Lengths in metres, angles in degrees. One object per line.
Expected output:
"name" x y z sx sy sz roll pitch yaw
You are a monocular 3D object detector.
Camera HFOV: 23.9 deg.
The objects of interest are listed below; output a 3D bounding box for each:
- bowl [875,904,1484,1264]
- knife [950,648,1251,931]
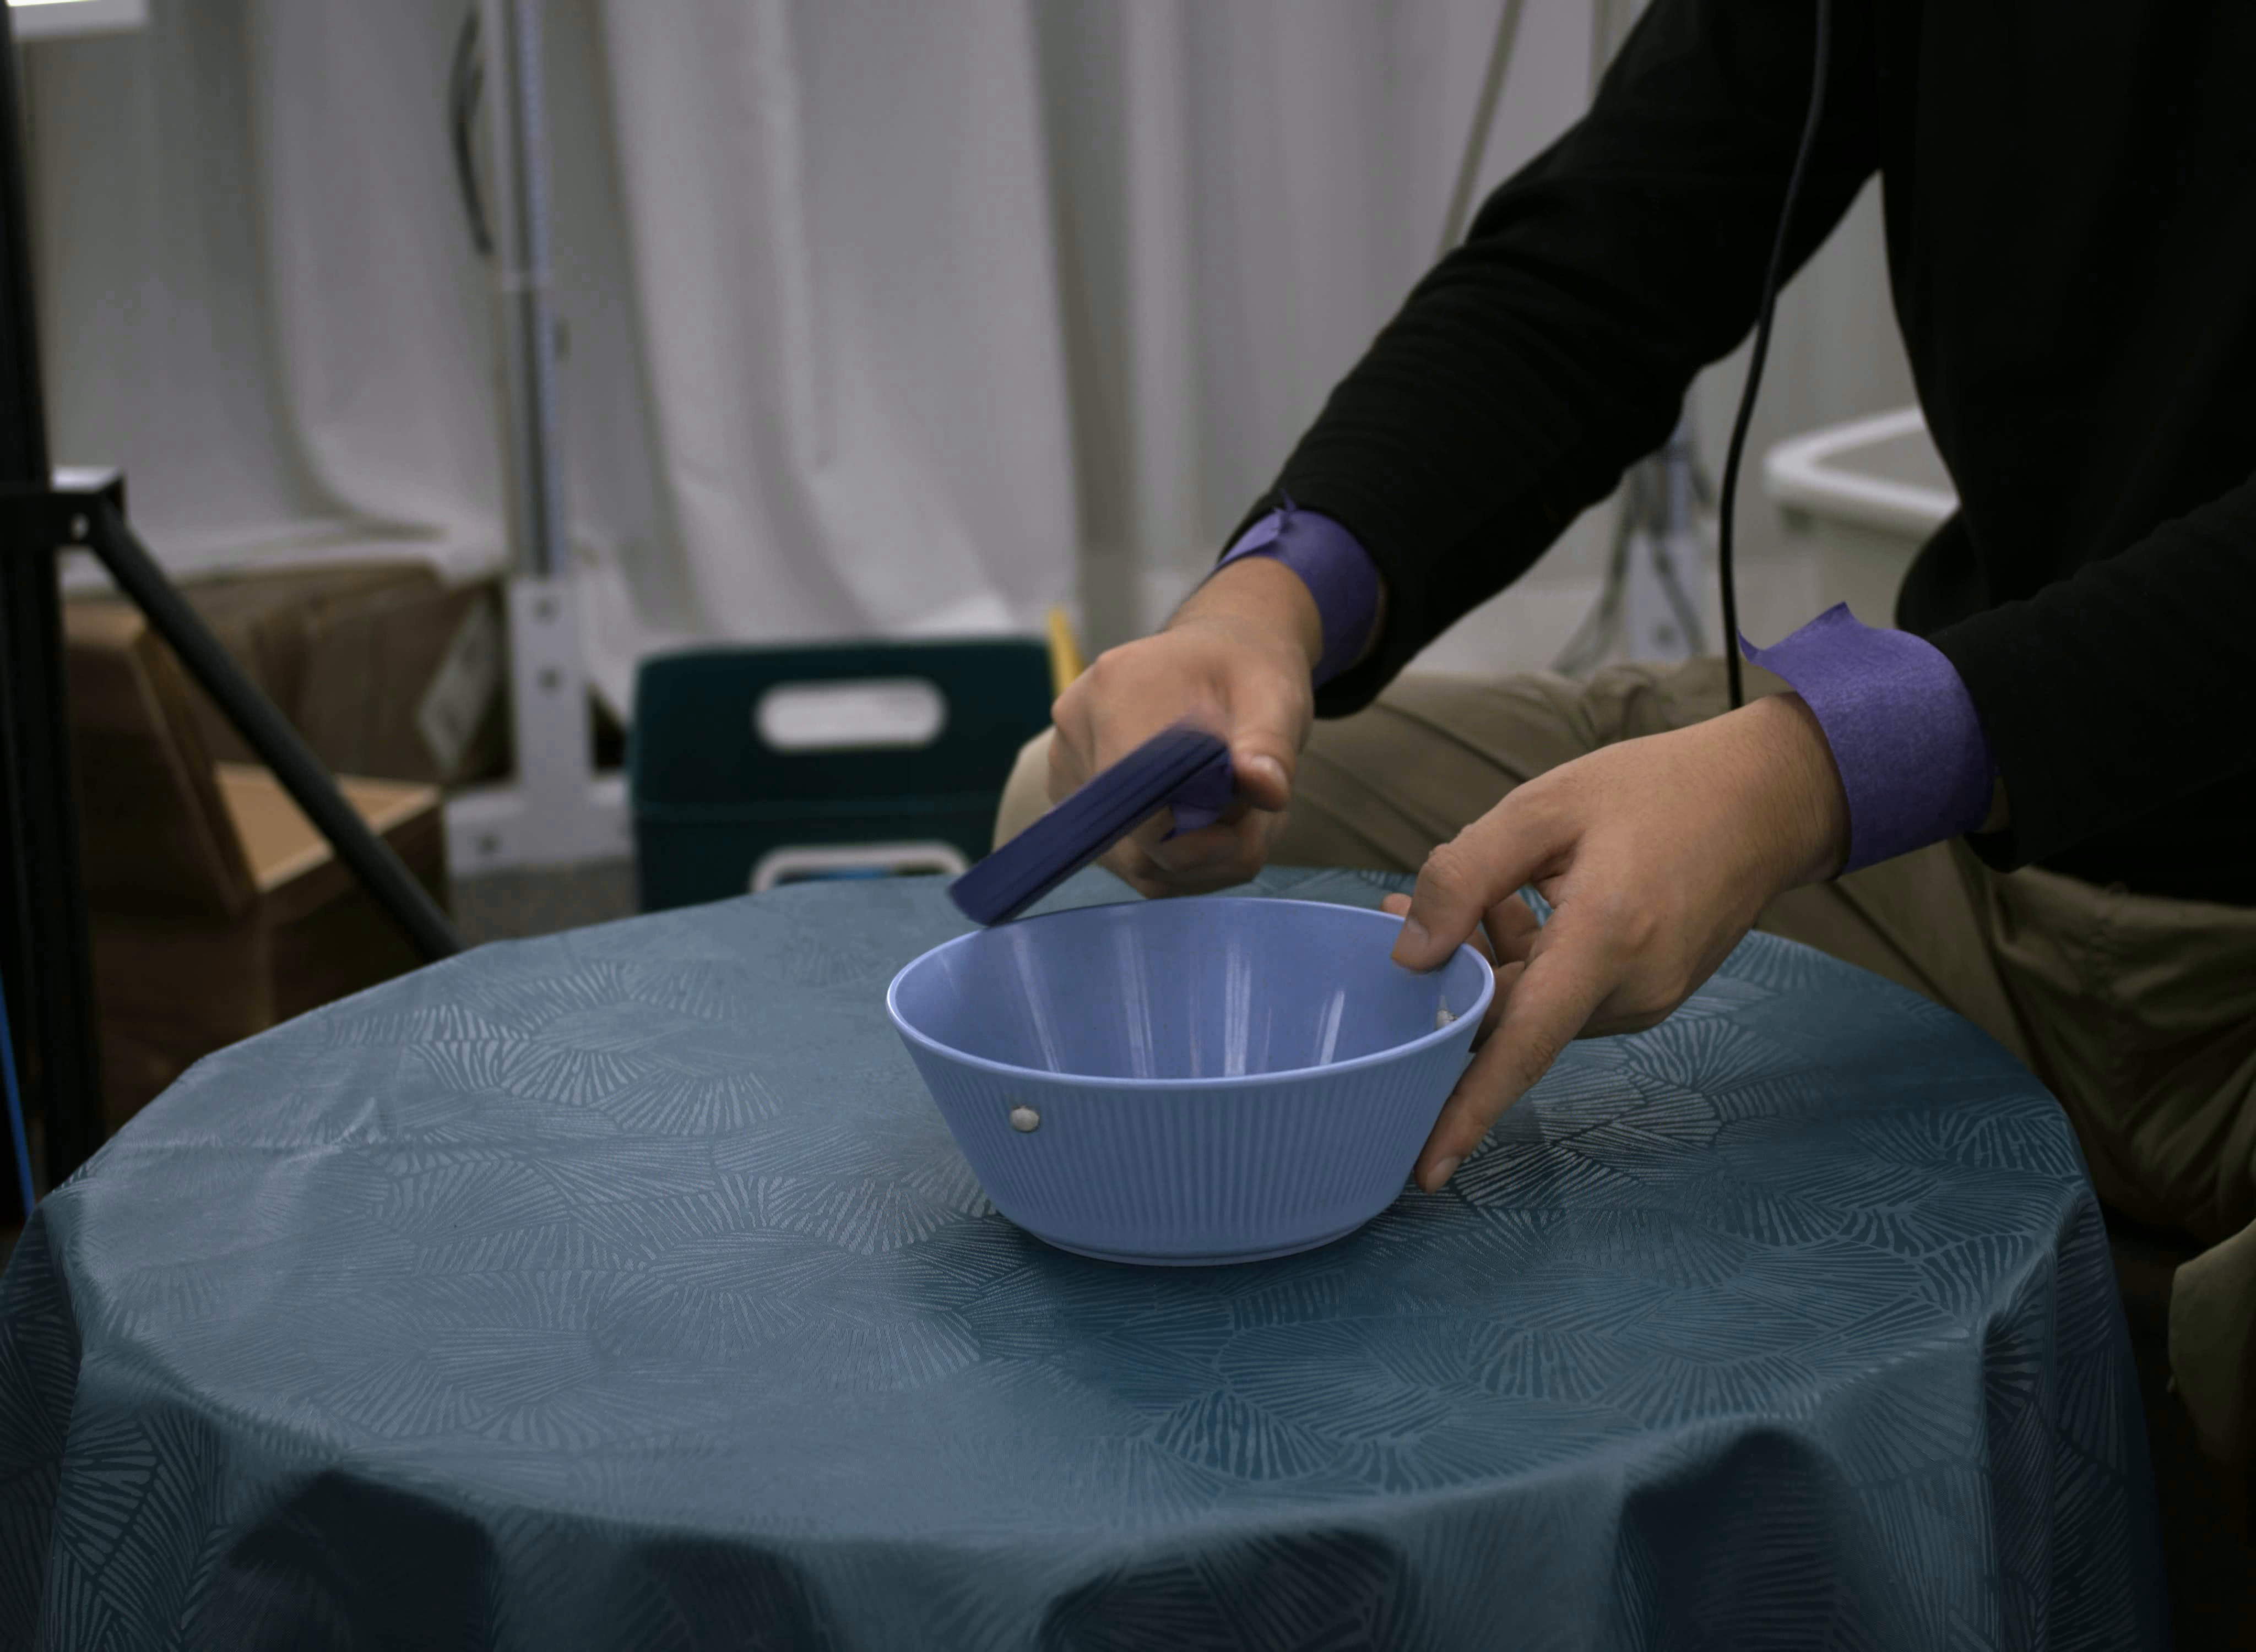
"bowl" 0.015 0.077 1.535 0.175 0.070 0.177 -1 15 -1
"knife" -0.006 -0.003 1.600 0.103 0.032 0.313 -36 -7 -1
